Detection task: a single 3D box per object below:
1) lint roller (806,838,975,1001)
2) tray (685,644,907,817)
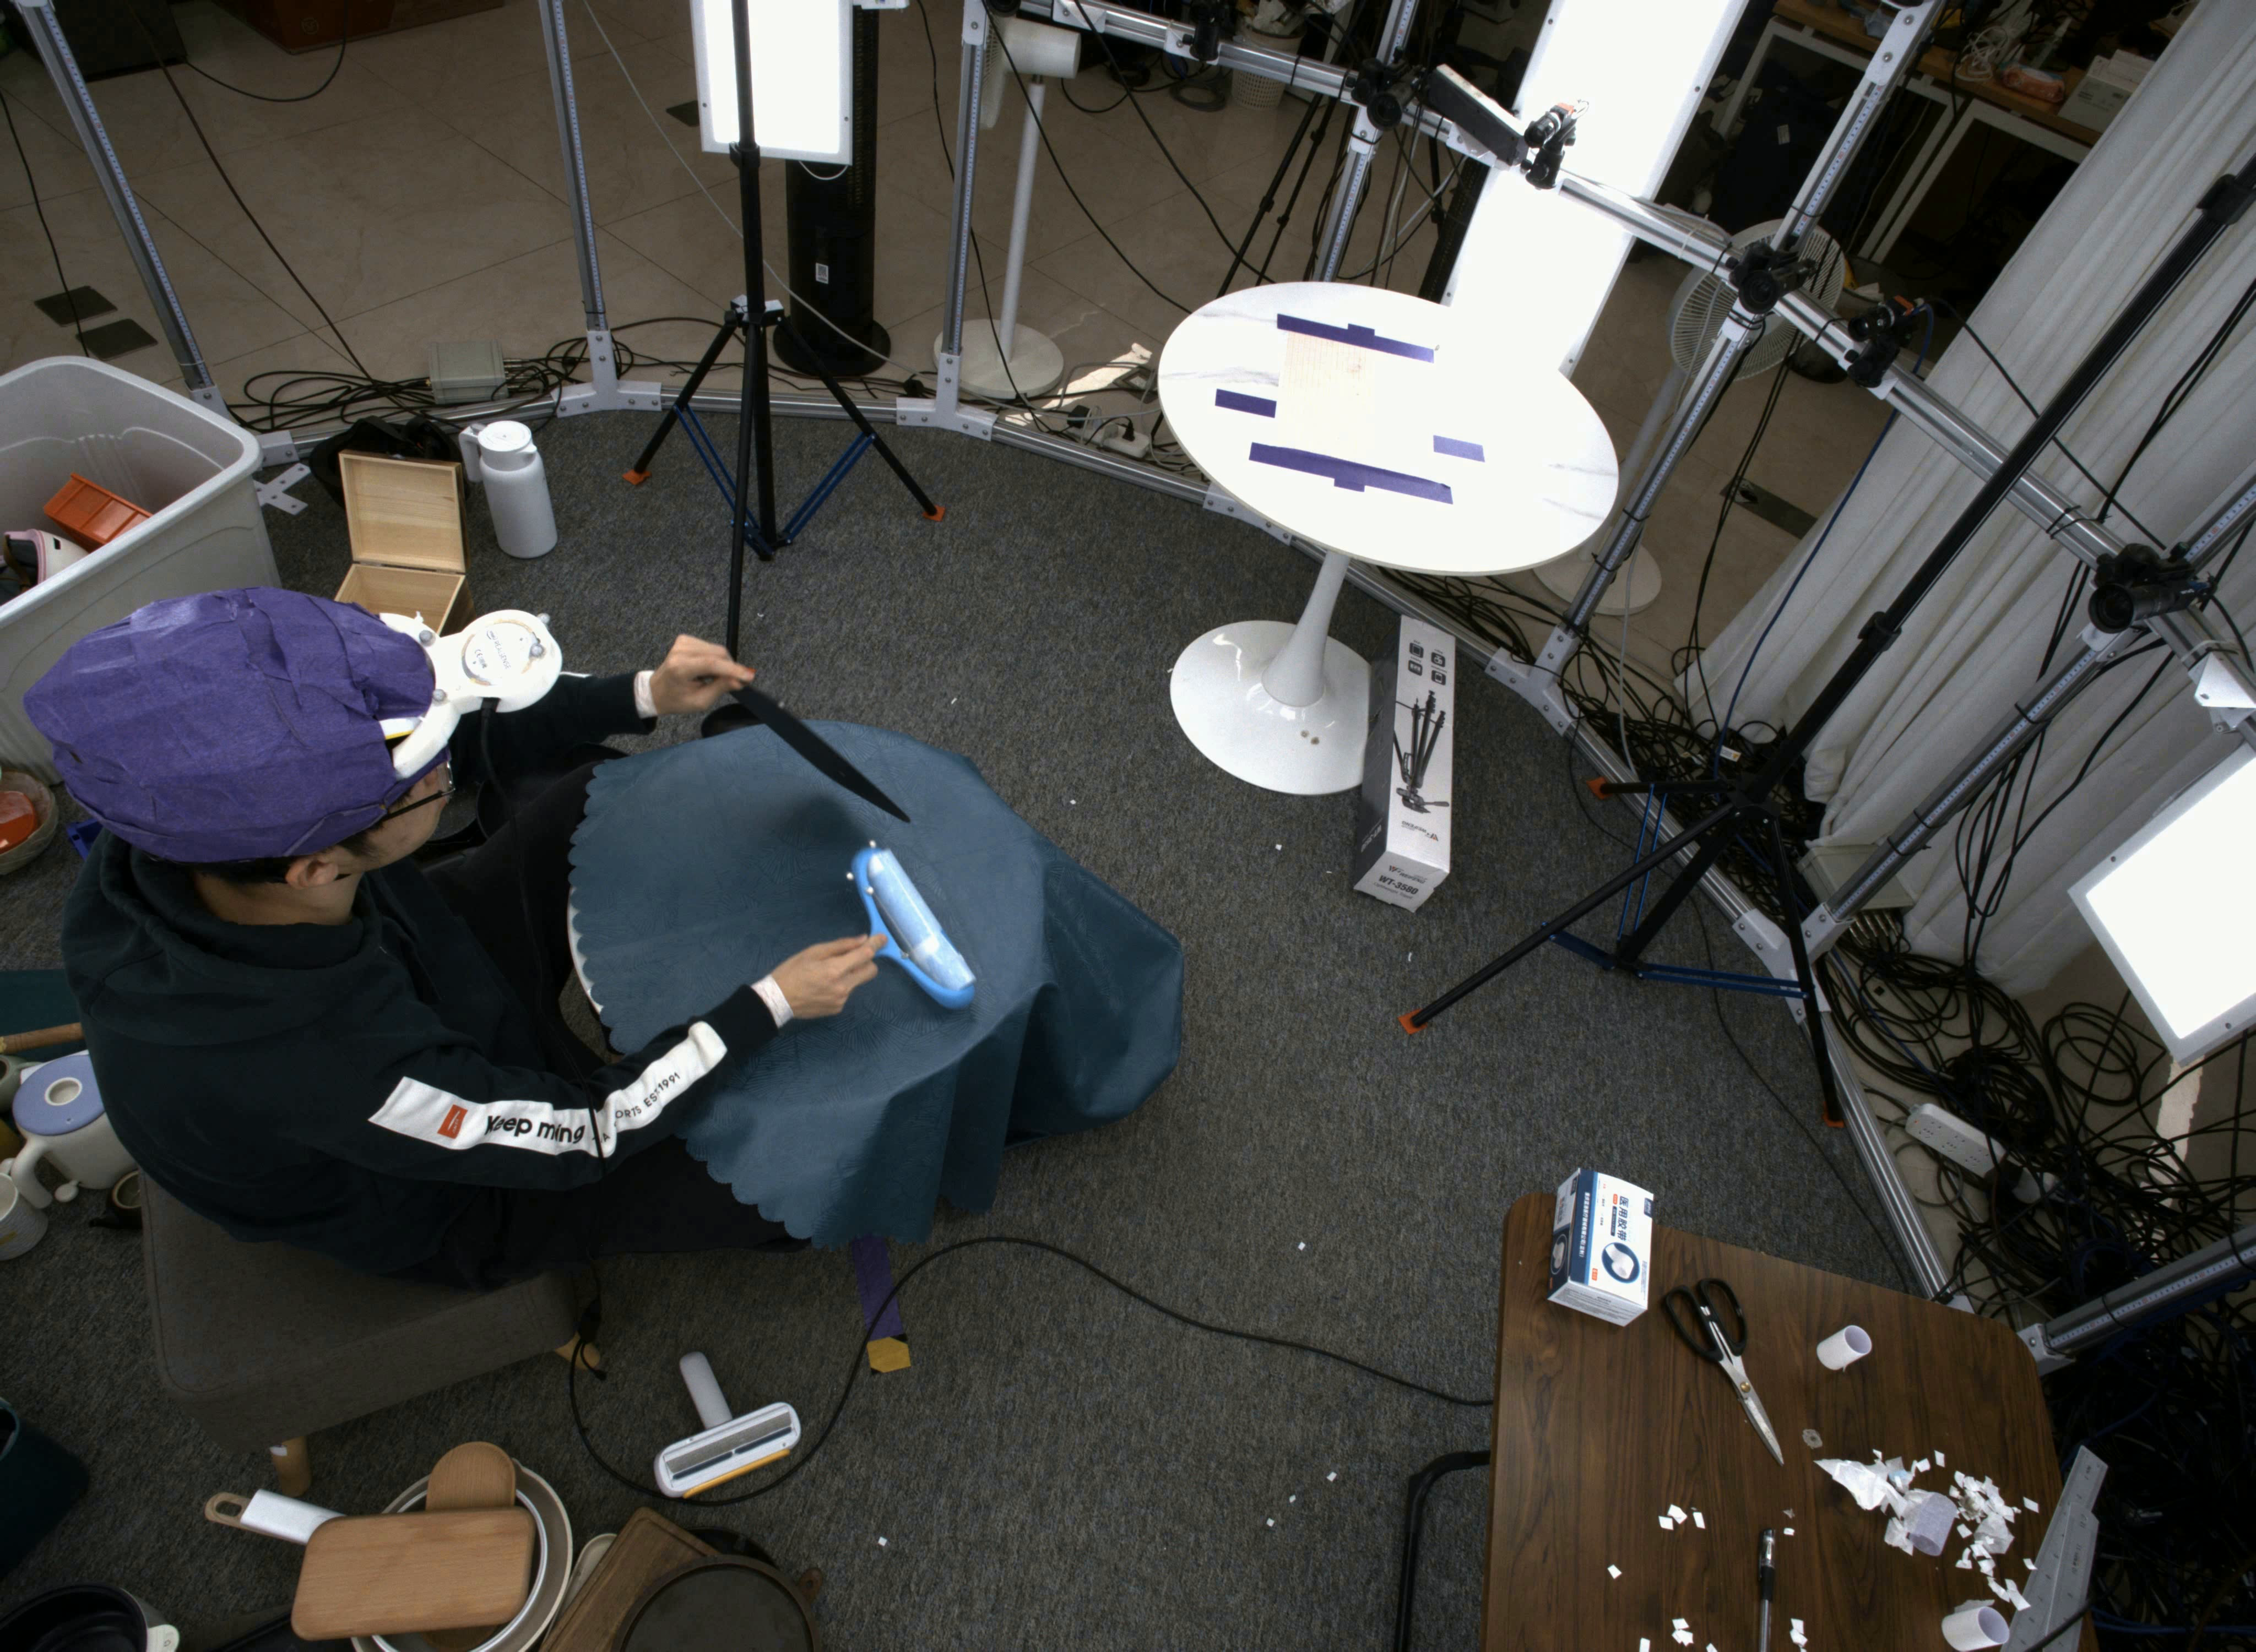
[{"bbox_3d":[-0.304,0.141,1.563,0.180,0.067,0.231,-37,94,-34],"label":"lint roller"},{"bbox_3d":[-0.404,-0.115,1.573,0.203,0.337,0.010,24,74,34],"label":"tray"}]
